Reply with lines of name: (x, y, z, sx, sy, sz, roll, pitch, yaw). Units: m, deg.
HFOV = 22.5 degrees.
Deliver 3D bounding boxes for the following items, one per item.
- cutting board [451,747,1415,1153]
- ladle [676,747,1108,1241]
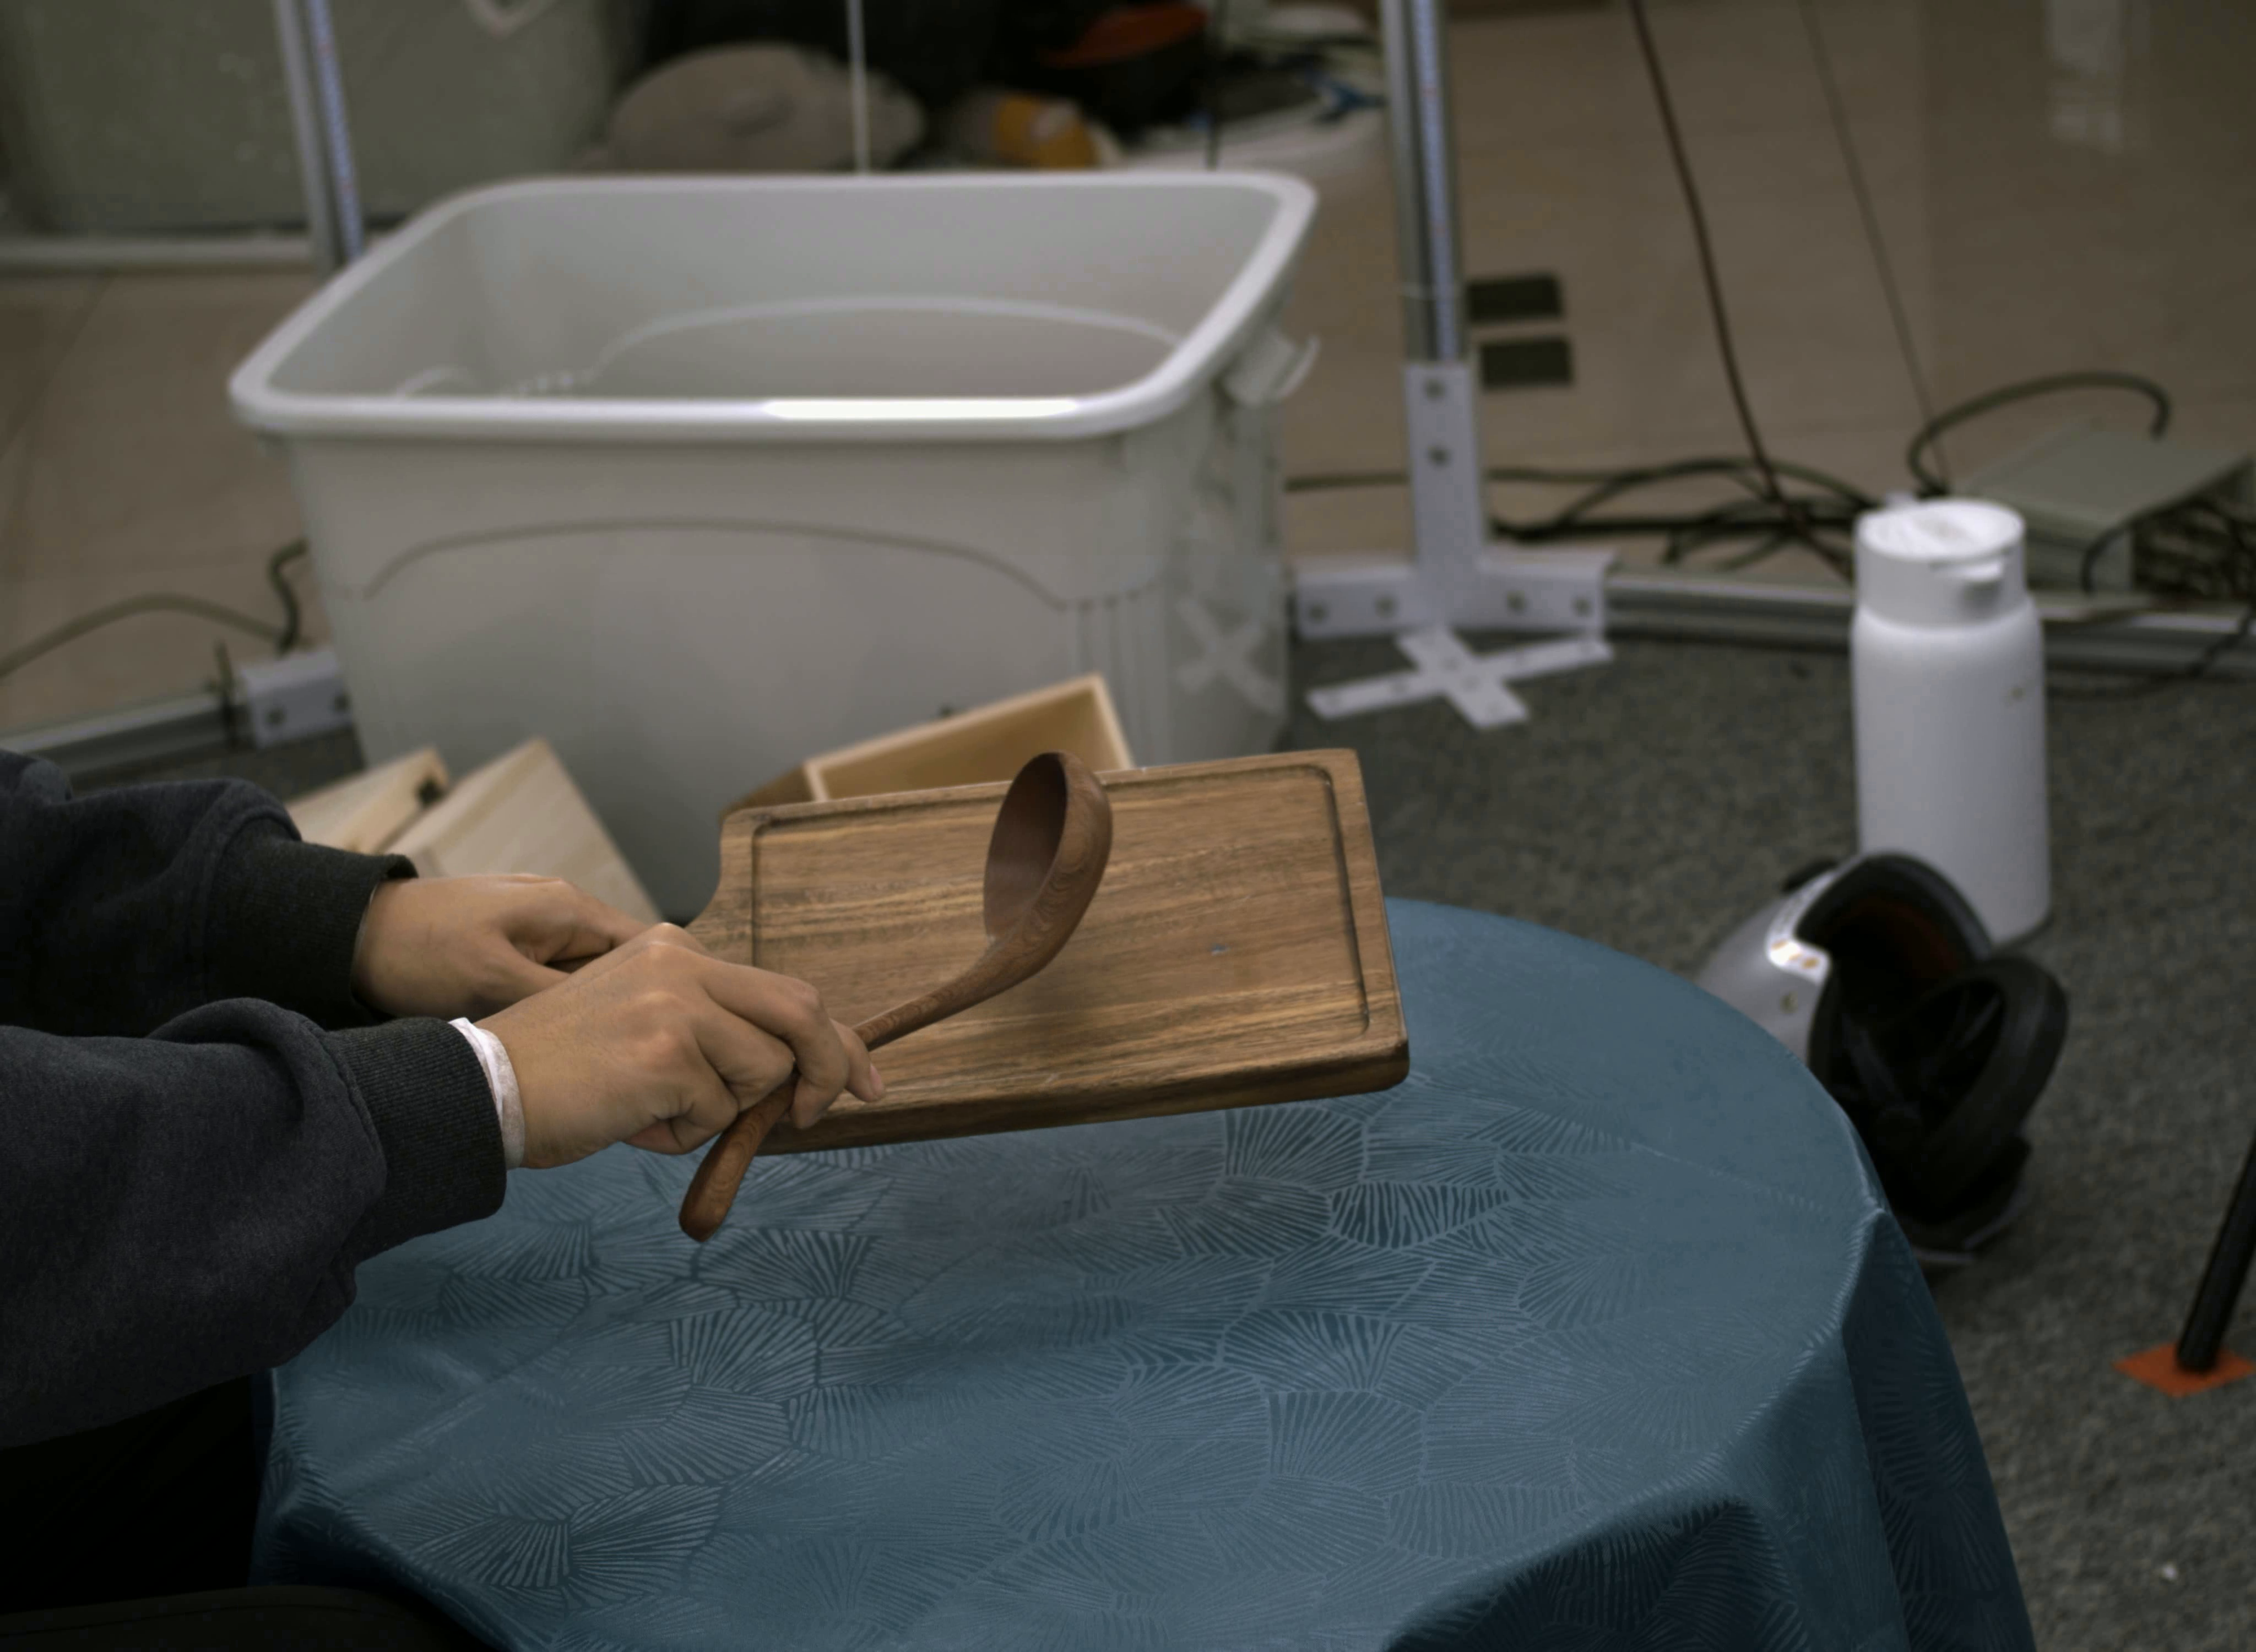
cutting board: (-0.077, 0.048, 2.115, 0.351, 0.023, 0.197, -6, 36, 0)
ladle: (-0.090, 0.057, 1.995, 0.065, 0.077, 0.257, 45, 49, 7)
